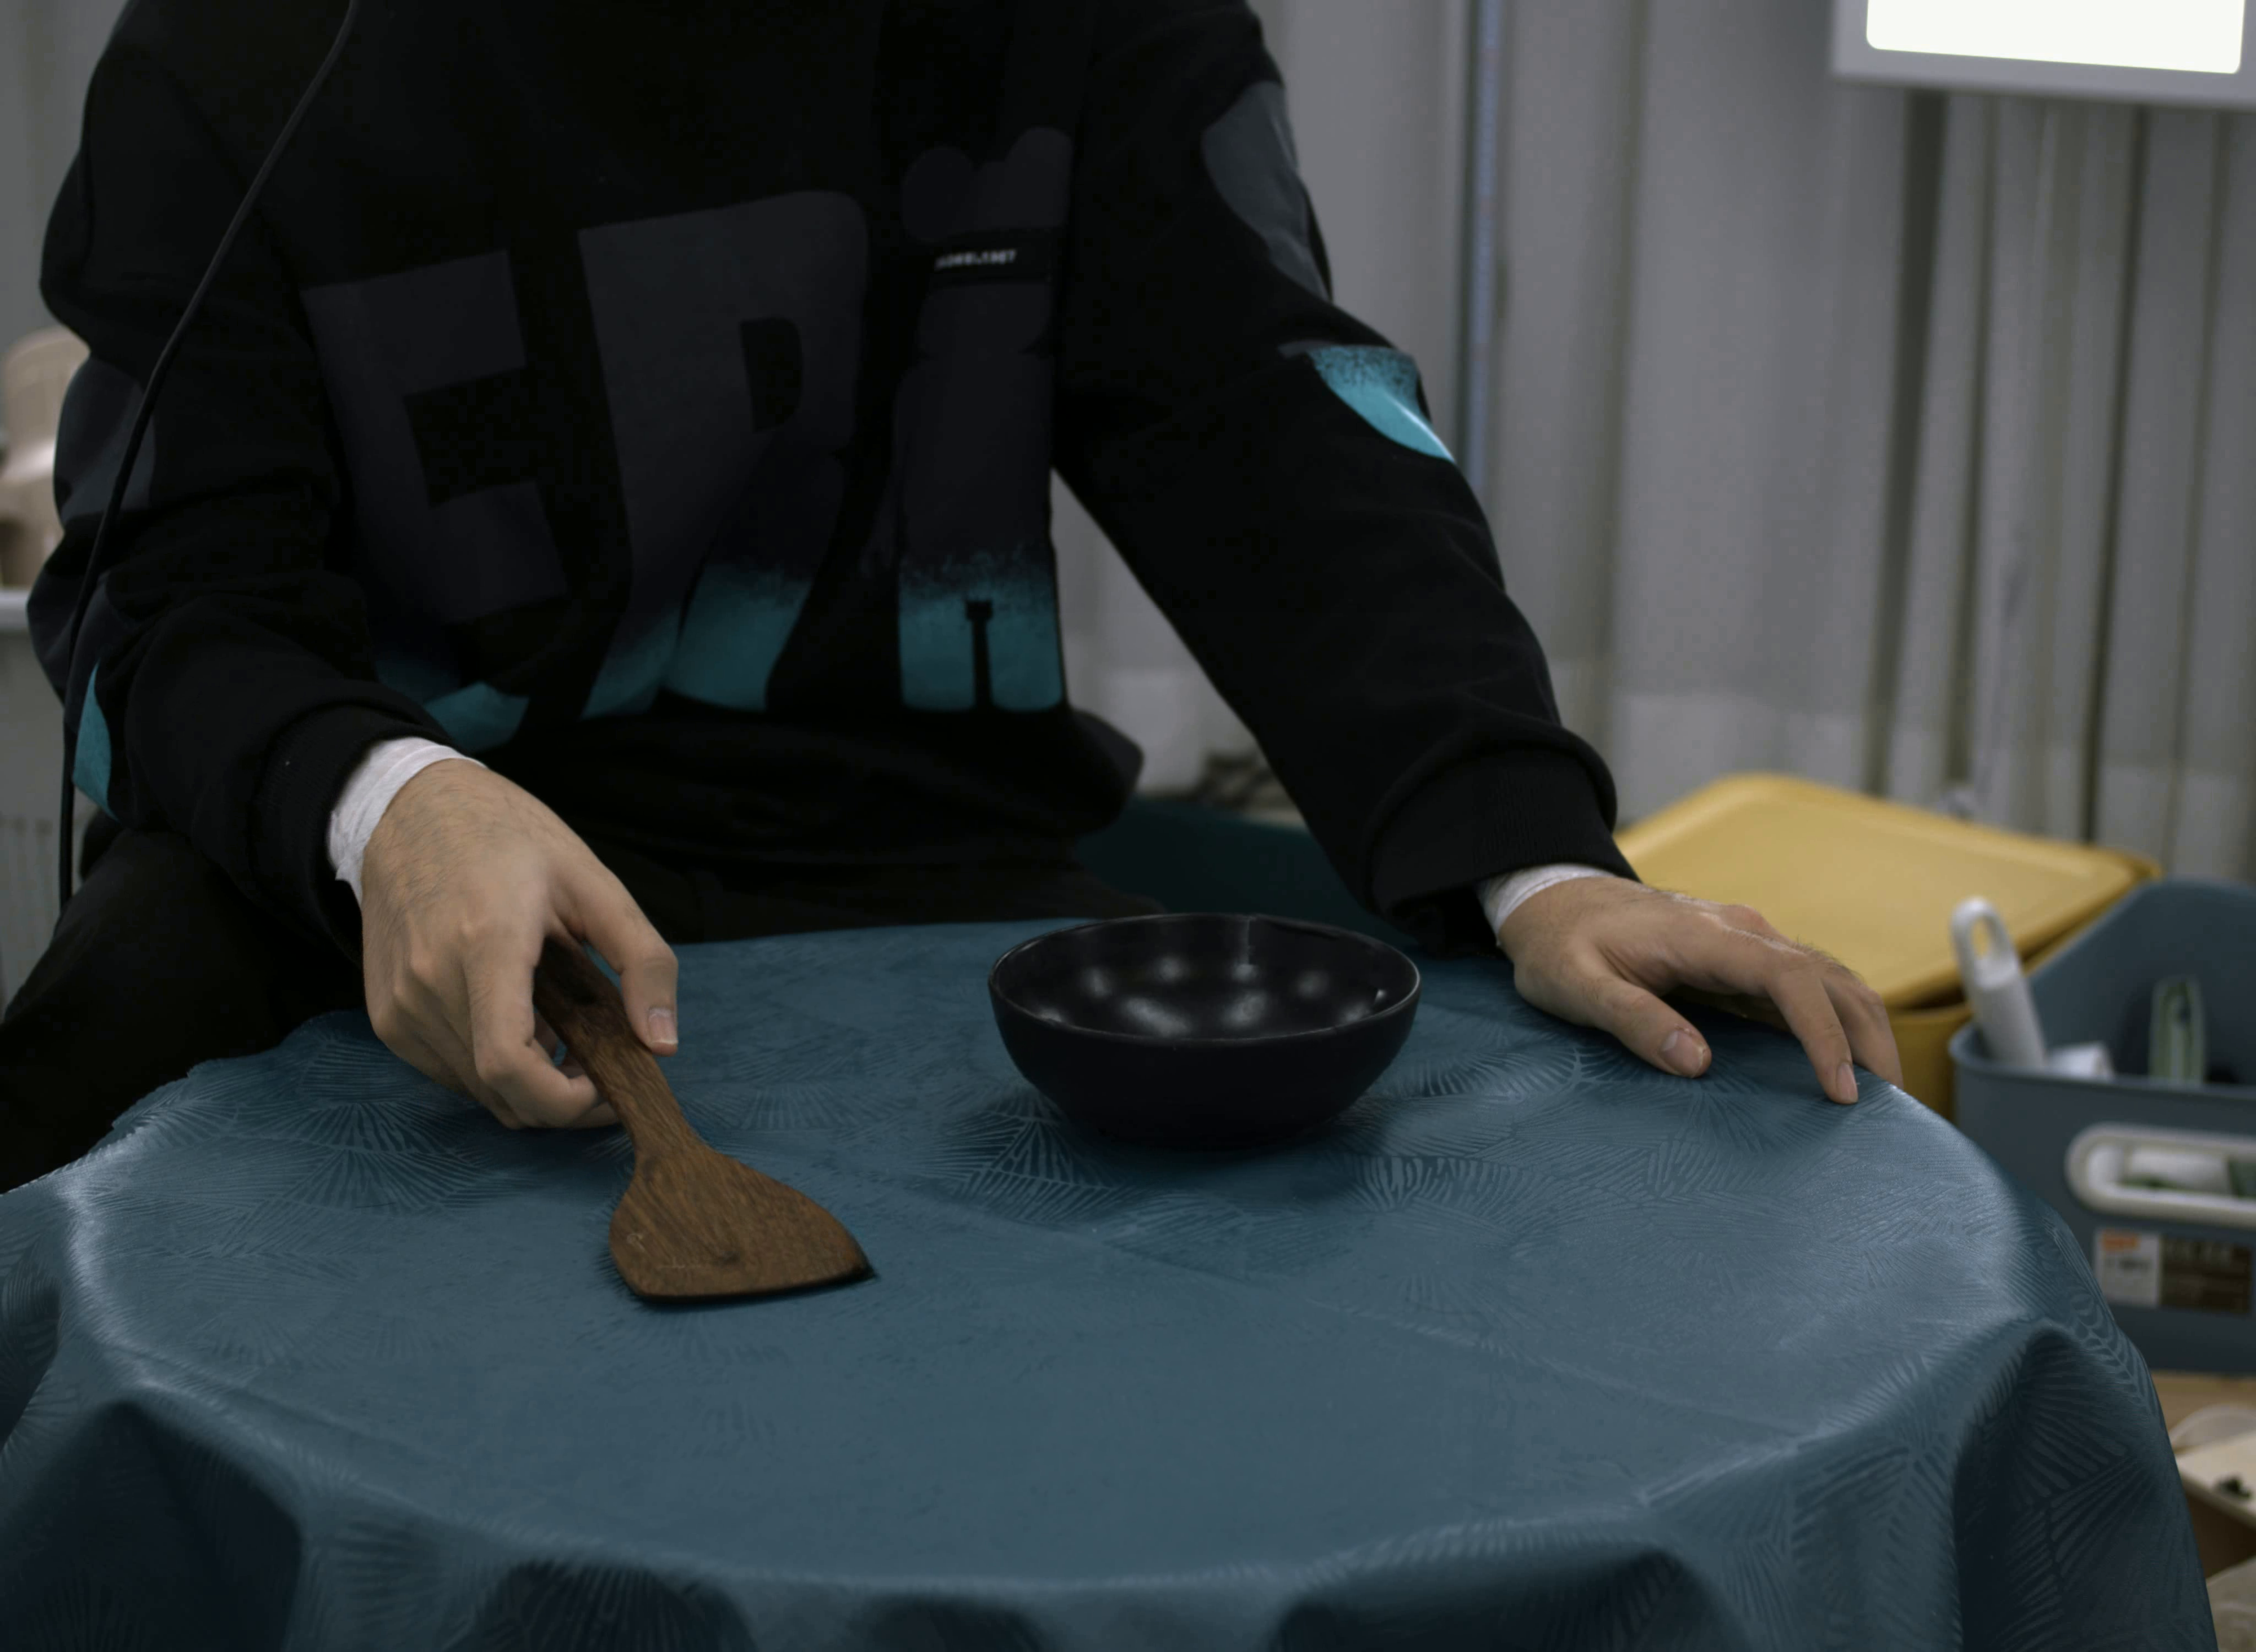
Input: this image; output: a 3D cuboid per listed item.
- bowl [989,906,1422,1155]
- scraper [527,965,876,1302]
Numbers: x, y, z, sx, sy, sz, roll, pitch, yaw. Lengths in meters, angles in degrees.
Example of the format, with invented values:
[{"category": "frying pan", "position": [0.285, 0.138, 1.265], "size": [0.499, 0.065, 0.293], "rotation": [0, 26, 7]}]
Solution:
[{"category": "bowl", "position": [0.026, 0.070, 1.687], "size": [0.139, 0.050, 0.139], "rotation": [-2, 17, 1]}, {"category": "scraper", "position": [-0.144, 0.093, 1.616], "size": [0.076, 0.011, 0.208], "rotation": [-4, 28, -23]}]
